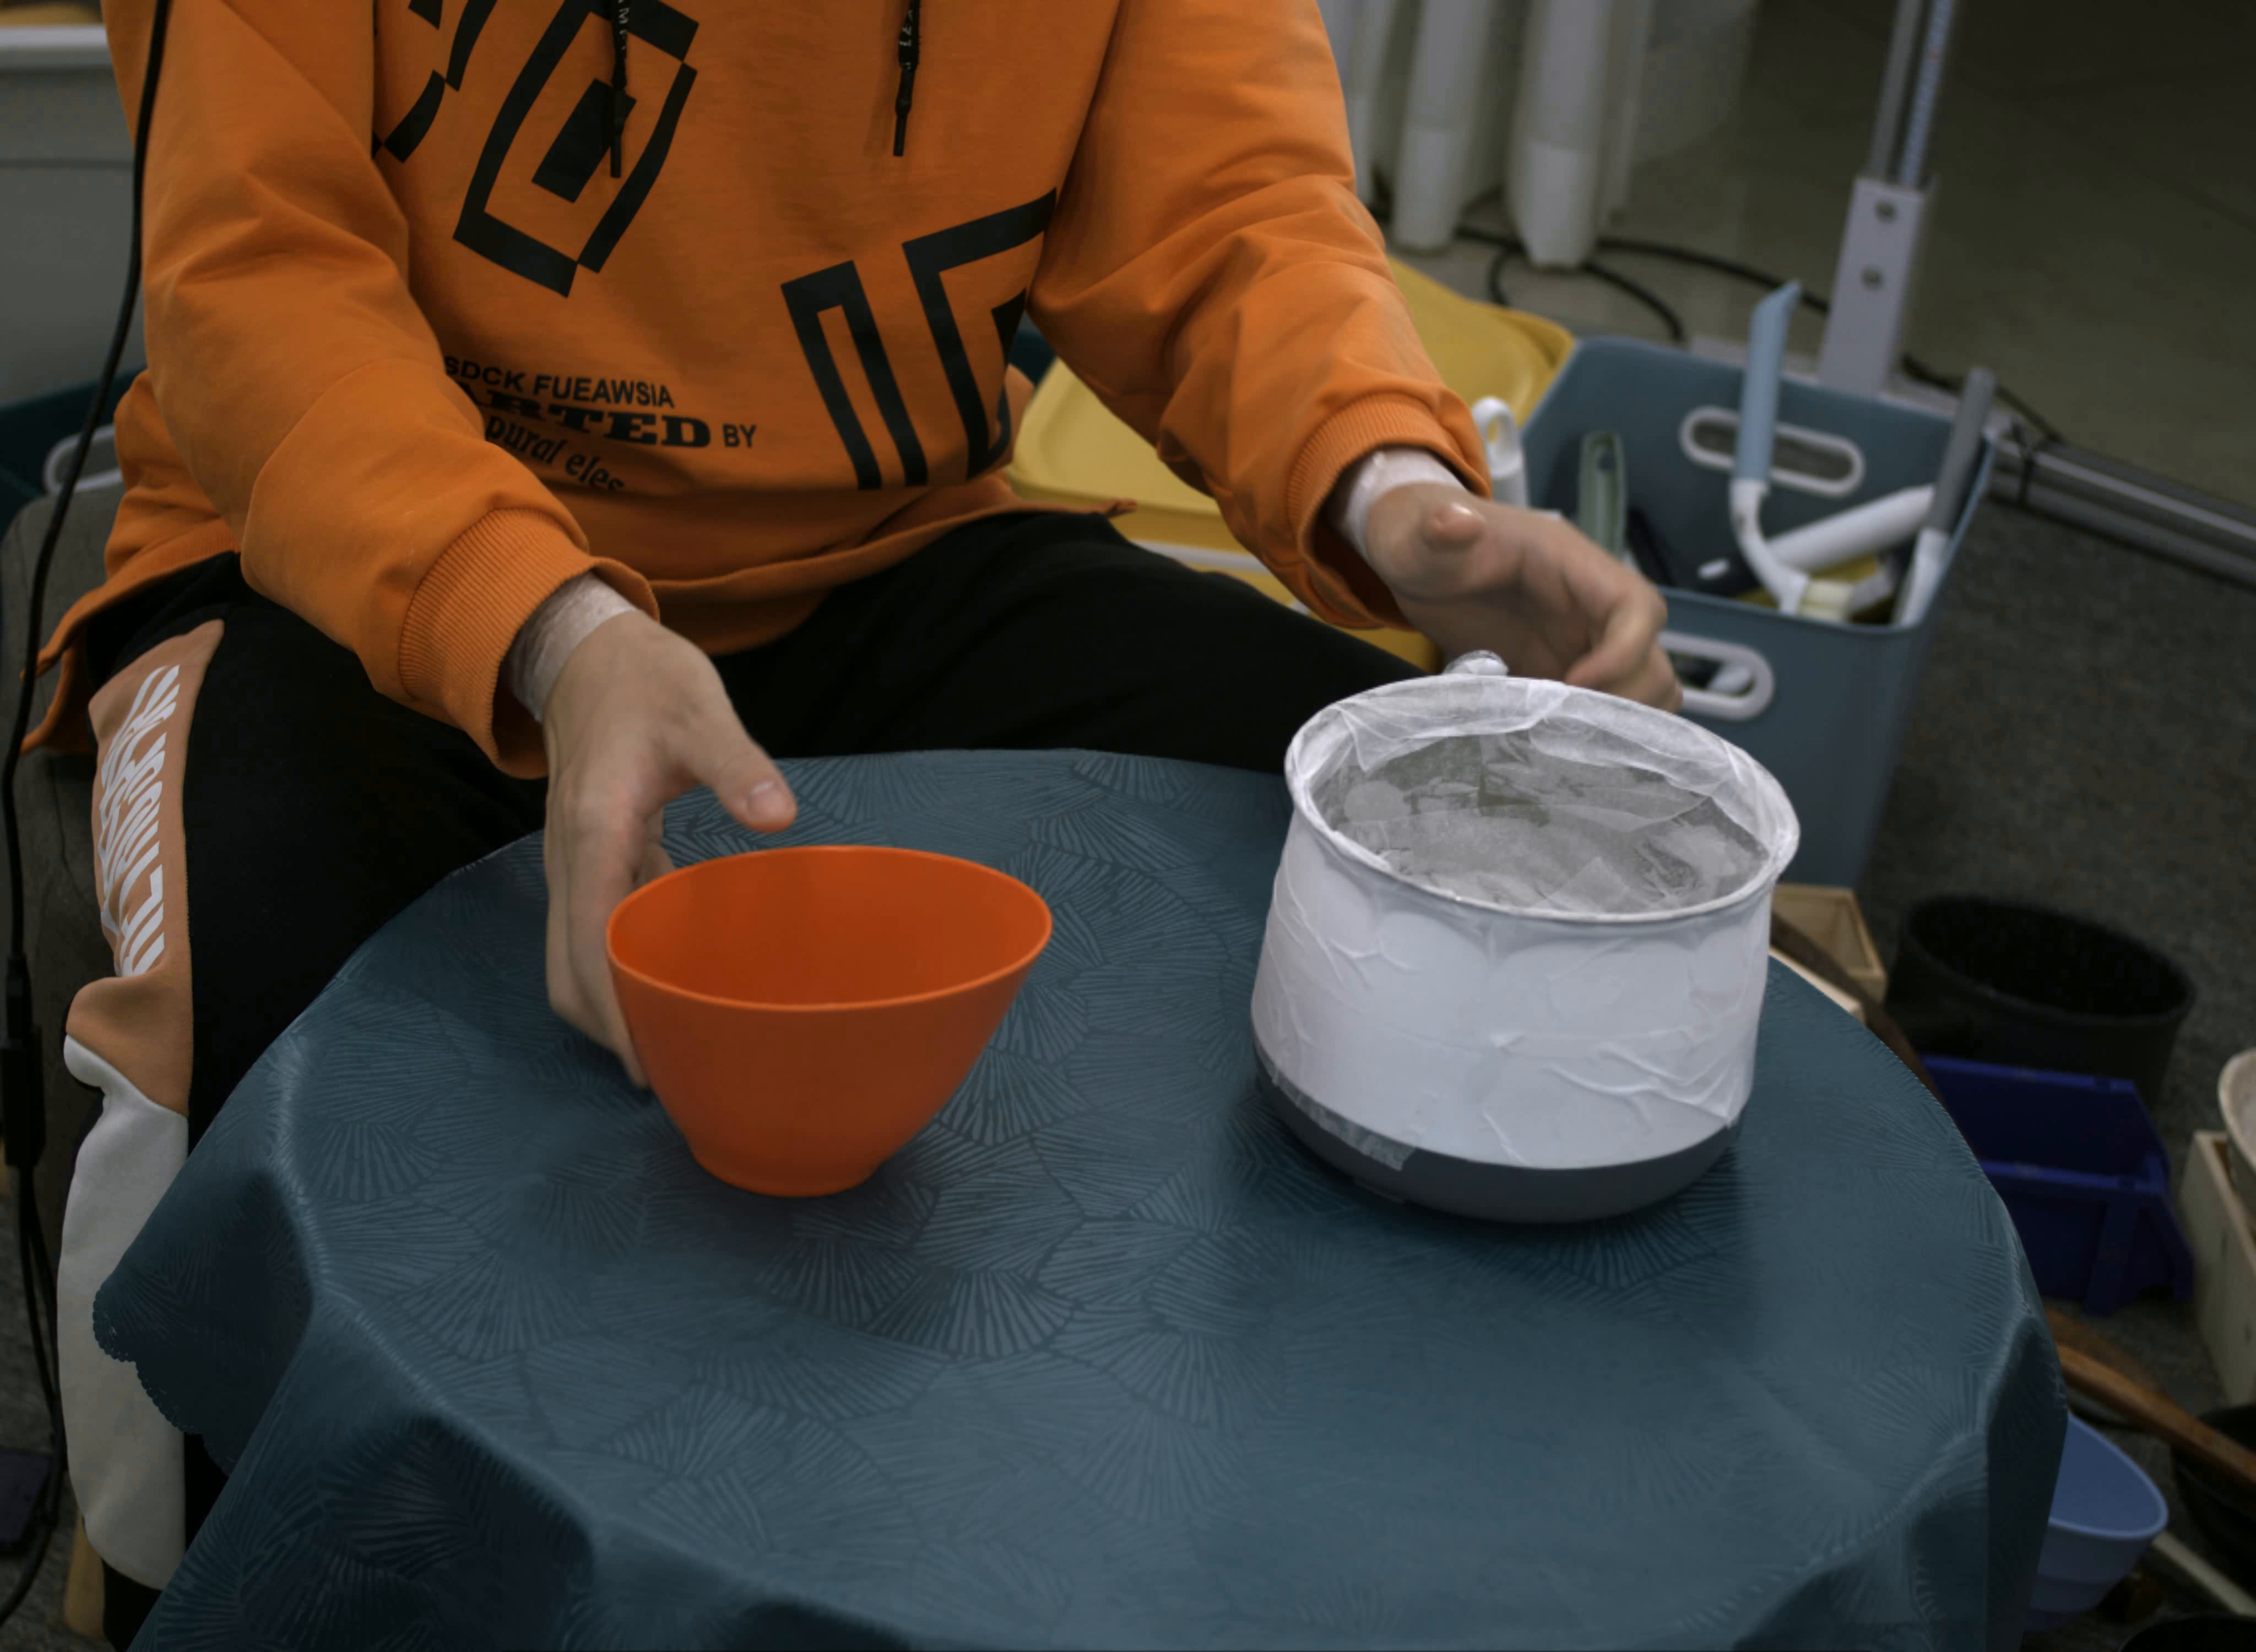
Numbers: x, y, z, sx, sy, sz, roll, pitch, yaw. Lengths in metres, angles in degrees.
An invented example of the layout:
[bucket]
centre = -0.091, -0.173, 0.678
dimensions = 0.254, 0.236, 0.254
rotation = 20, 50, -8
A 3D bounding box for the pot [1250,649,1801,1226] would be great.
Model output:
[pot]
centre = 0.129, 0.032, 1.861
dimensions = 0.178, 0.136, 0.235
rotation = 1, 28, -12

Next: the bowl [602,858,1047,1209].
[bowl]
centre = -0.104, 0.072, 1.776
dimensions = 0.147, 0.104, 0.149
rotation = 5, 25, -3
